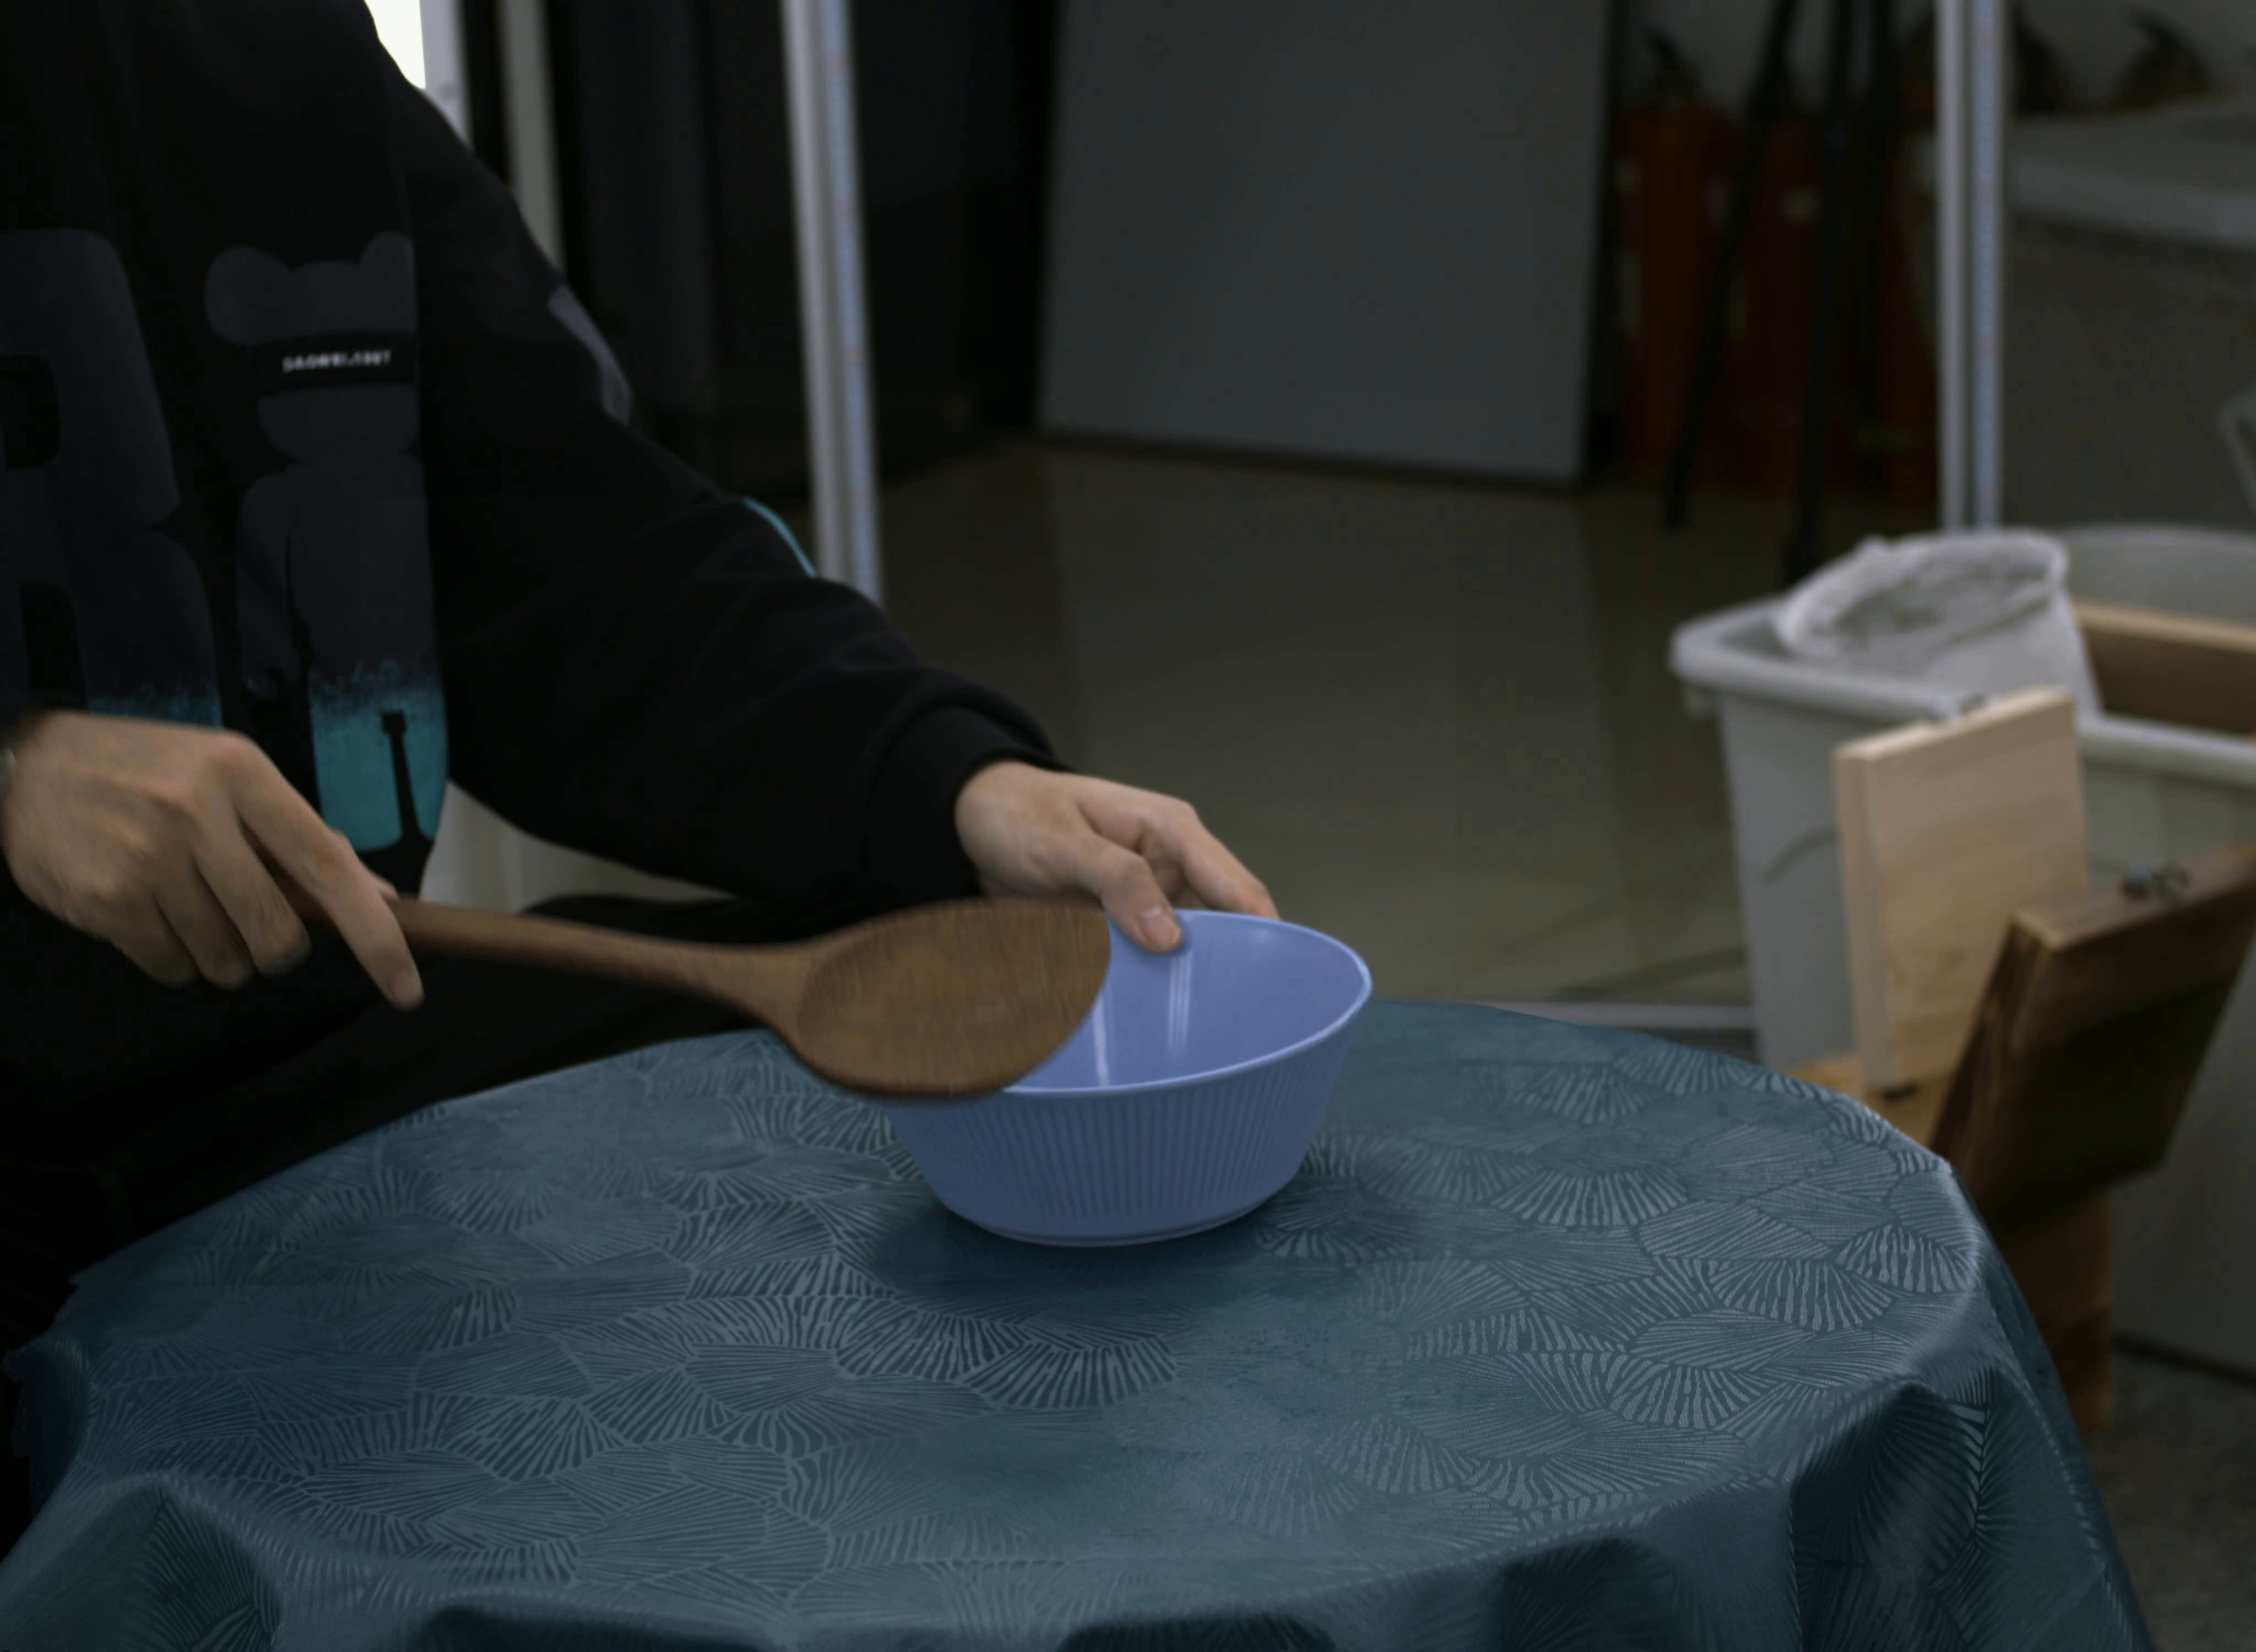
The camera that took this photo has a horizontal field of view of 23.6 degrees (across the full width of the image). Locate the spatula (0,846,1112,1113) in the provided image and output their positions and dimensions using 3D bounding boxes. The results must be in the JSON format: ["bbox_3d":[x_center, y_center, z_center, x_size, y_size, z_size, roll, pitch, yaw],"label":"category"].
[{"bbox_3d":[-0.187,0.038,1.649,0.386,0.016,0.095,7,38,22],"label":"spatula"}]

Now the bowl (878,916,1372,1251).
[{"bbox_3d":[-0.004,0.087,1.755,0.174,0.071,0.176,-6,15,1],"label":"bowl"}]
